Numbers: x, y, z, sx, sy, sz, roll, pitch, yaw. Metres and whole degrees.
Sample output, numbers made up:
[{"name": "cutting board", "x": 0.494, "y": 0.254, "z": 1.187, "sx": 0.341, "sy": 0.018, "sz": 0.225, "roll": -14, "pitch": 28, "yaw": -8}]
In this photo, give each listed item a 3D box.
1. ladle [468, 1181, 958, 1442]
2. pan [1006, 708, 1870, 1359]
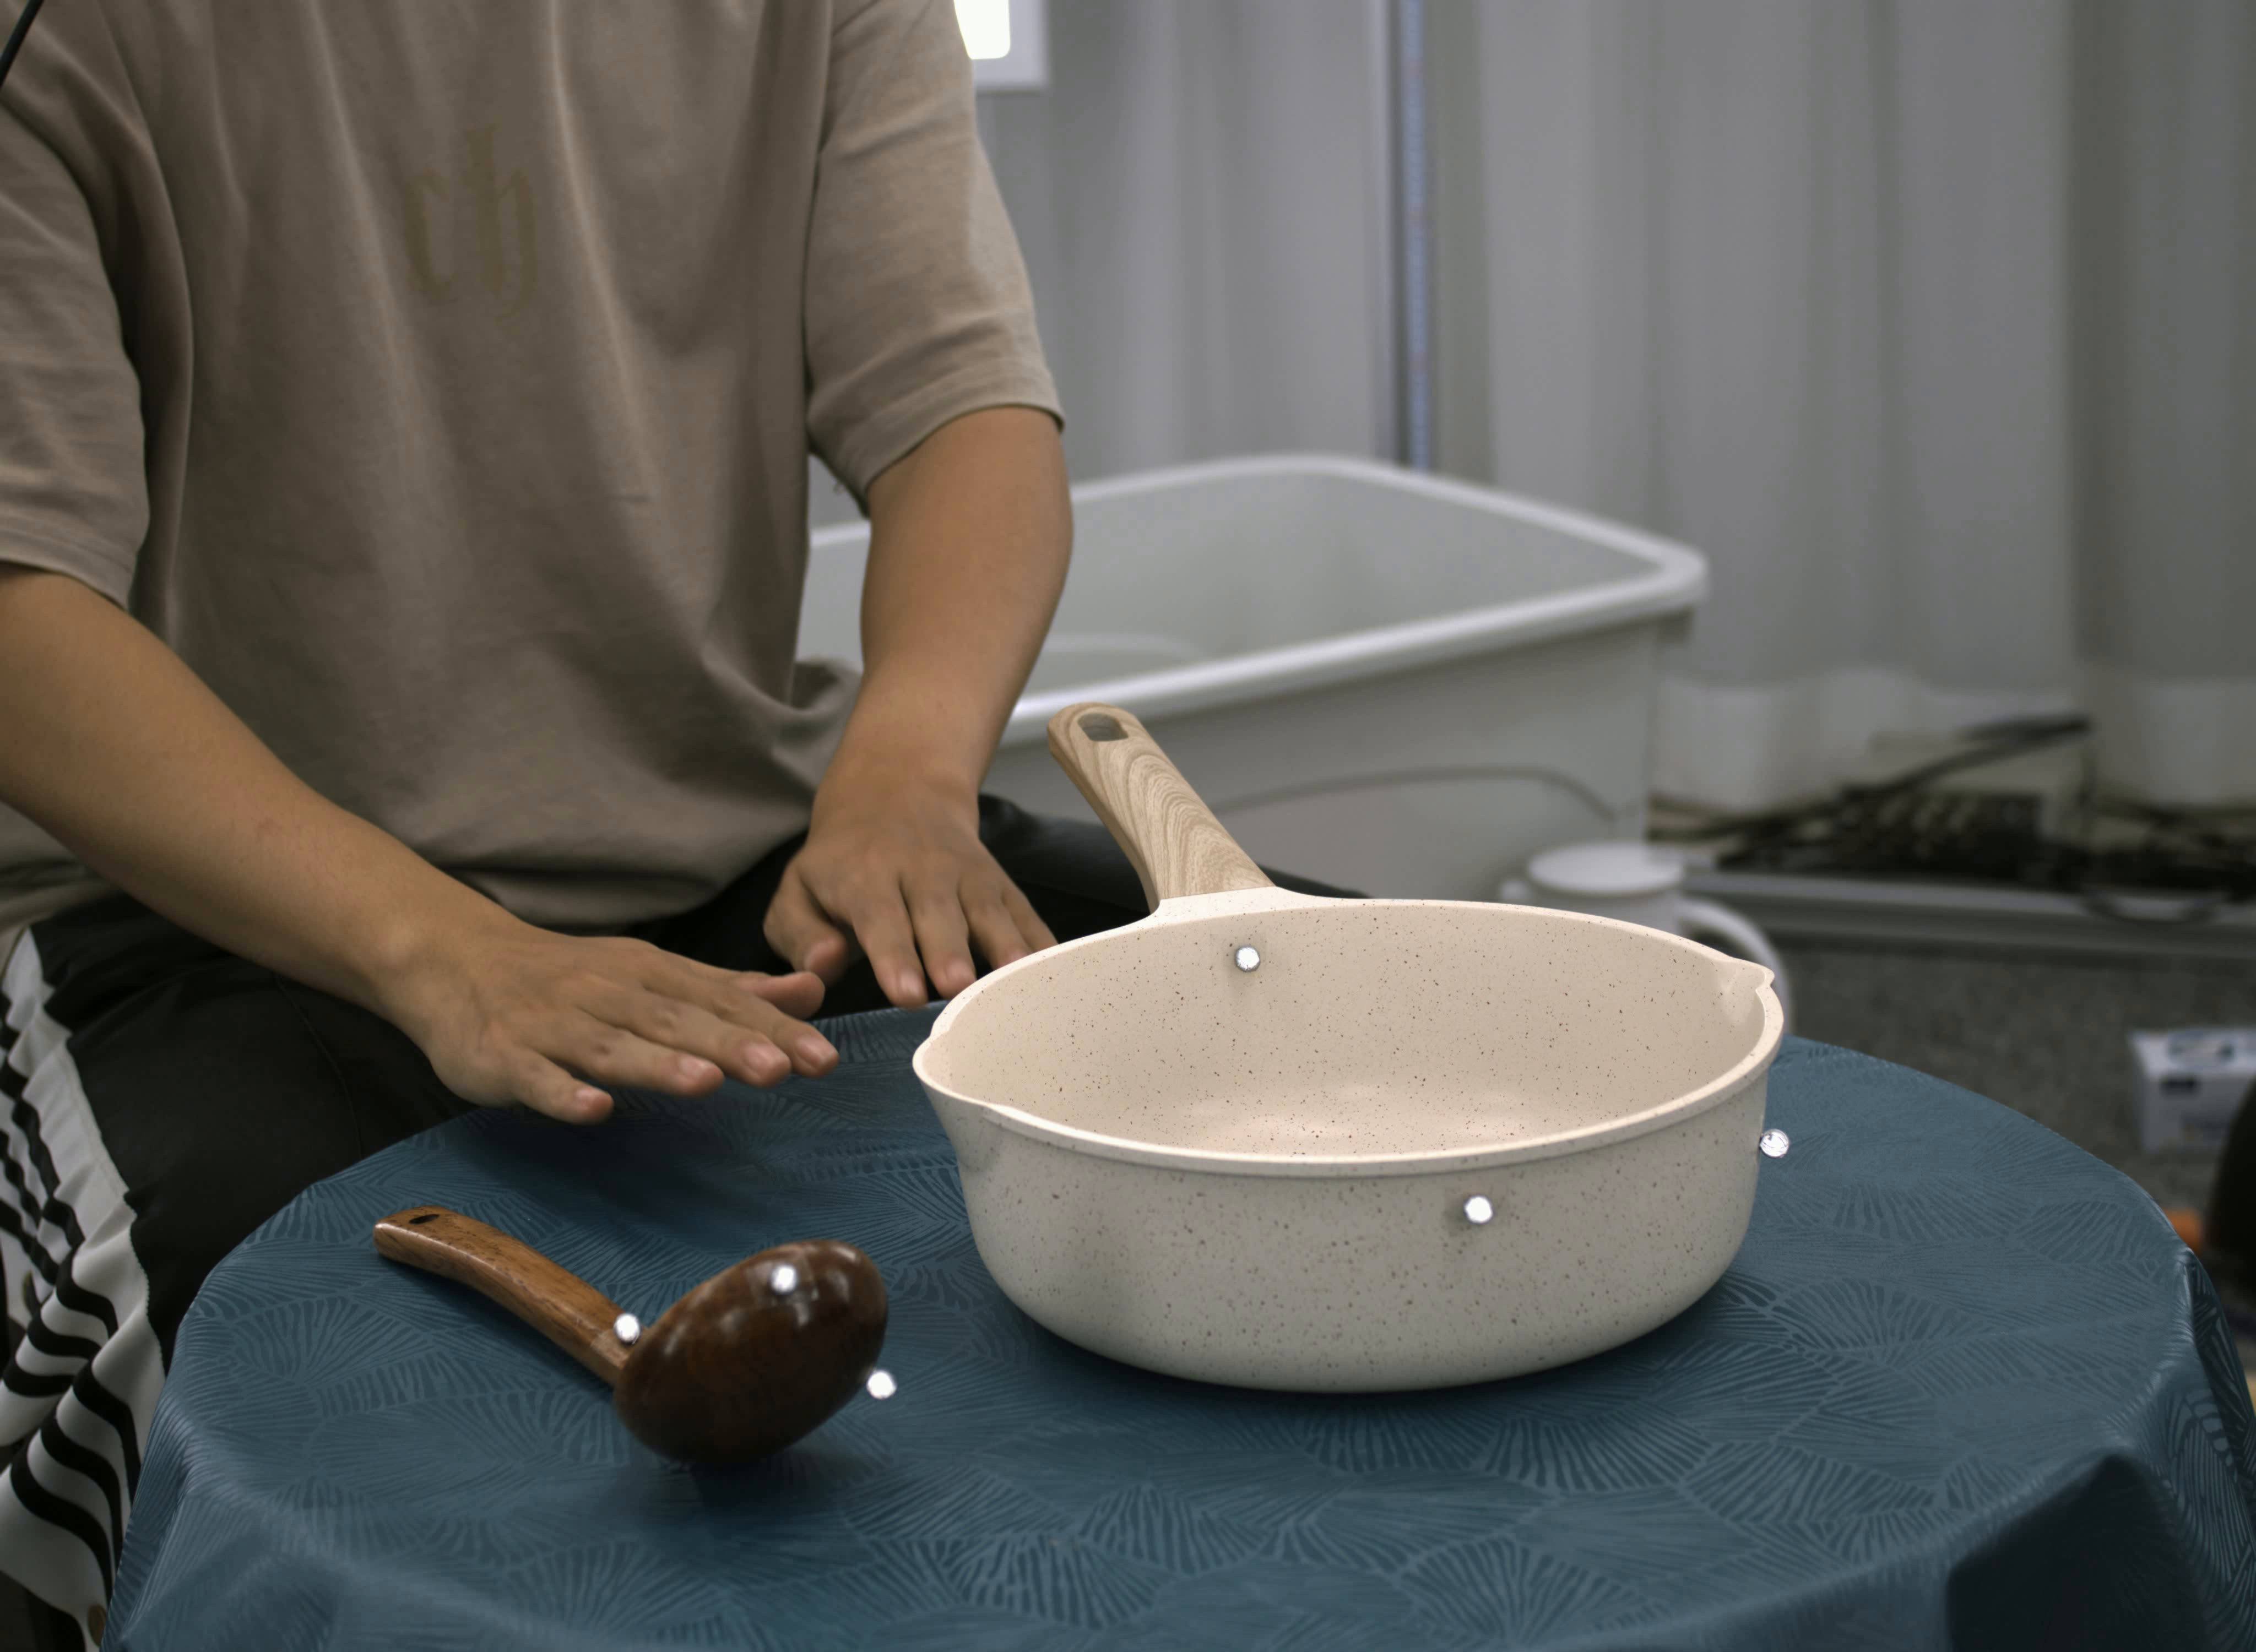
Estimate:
[{"name": "ladle", "x": -0.135, "y": 0.115, "z": 1.569, "sx": 0.081, "sy": 0.076, "sz": 0.276, "roll": -13, "pitch": 18, "yaw": -27}, {"name": "pan", "x": 0.069, "y": 0.058, "z": 1.704, "sx": 0.262, "sy": 0.101, "sz": 0.438, "roll": -8, "pitch": 16, "yaw": -14}]
